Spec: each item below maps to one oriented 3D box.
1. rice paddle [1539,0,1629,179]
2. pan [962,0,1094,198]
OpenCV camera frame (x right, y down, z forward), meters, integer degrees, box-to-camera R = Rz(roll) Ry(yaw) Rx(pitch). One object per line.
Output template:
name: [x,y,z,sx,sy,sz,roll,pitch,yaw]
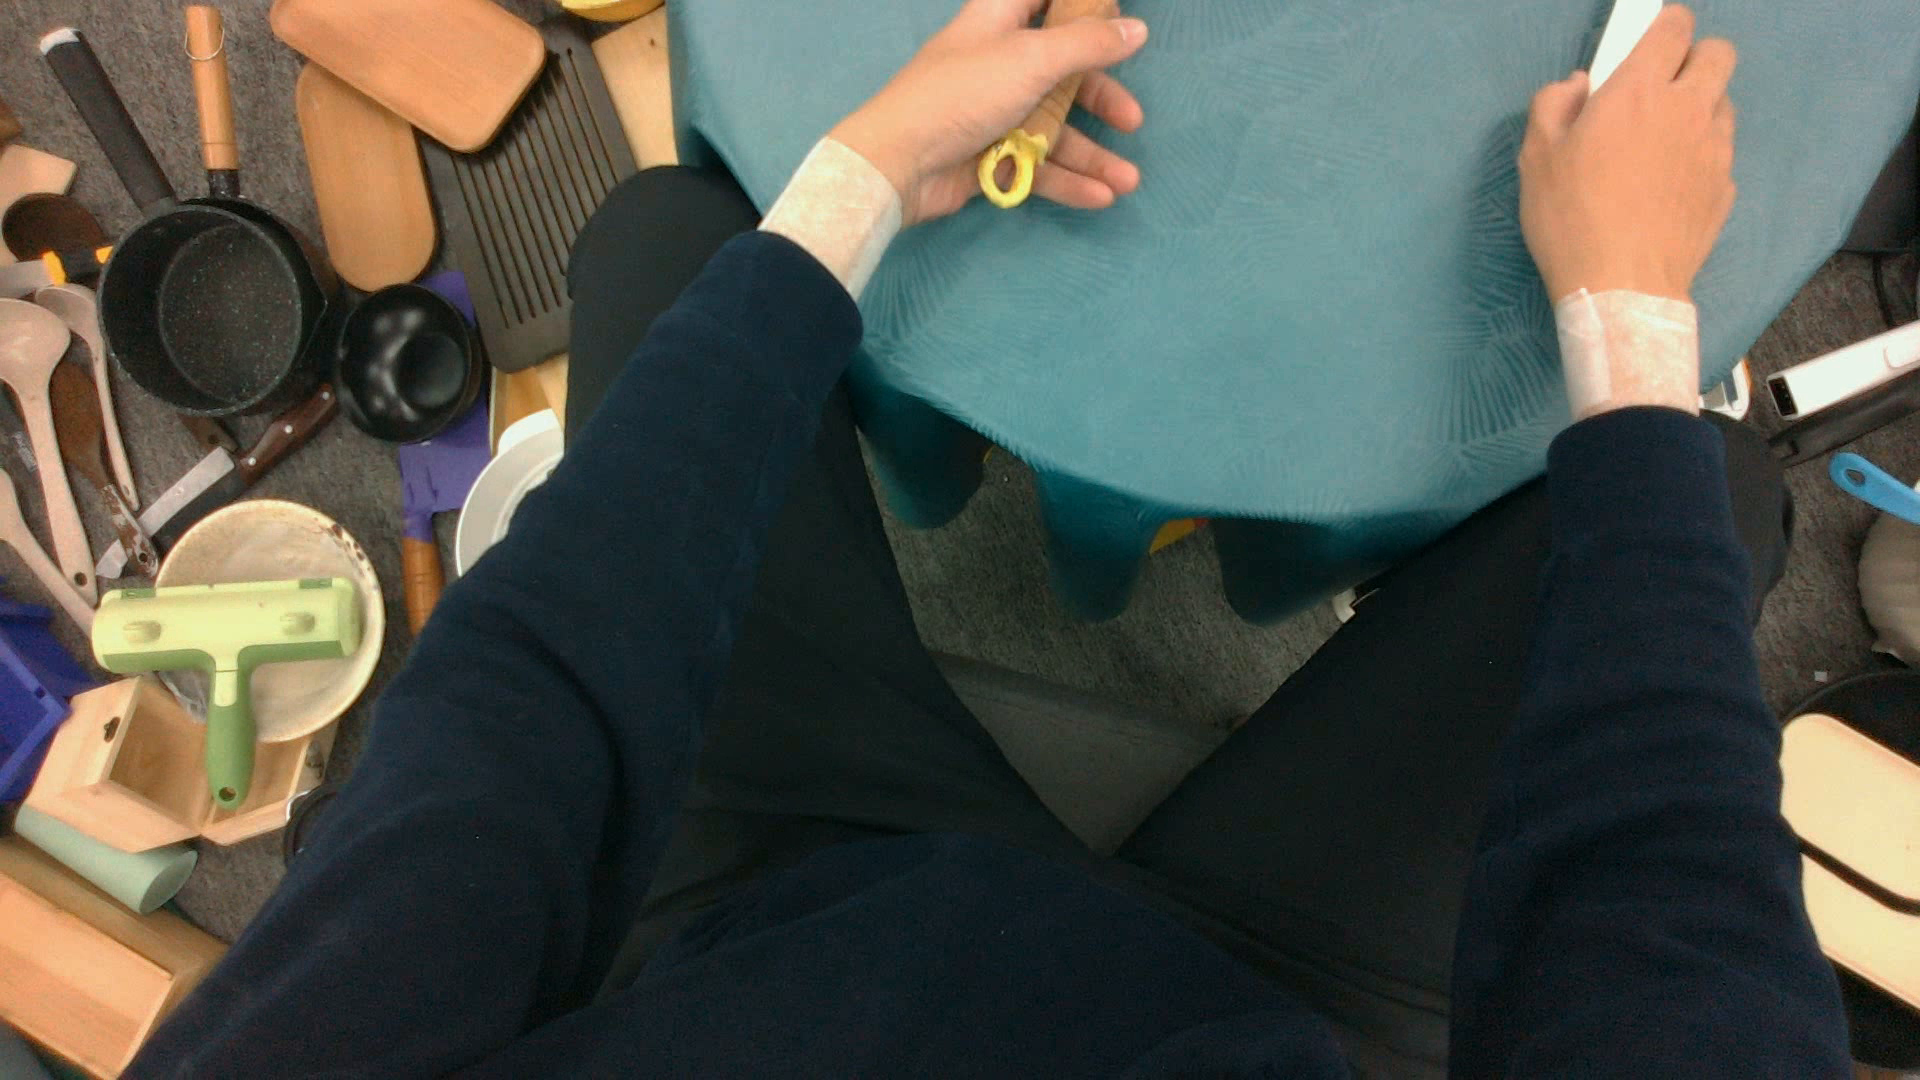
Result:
rice paddle: [0.301,-0.269,0.631,0.069,0.029,0.205,12,87,1]
pan: [0.069,-0.304,0.631,0.169,0.049,0.324,24,88,2]
